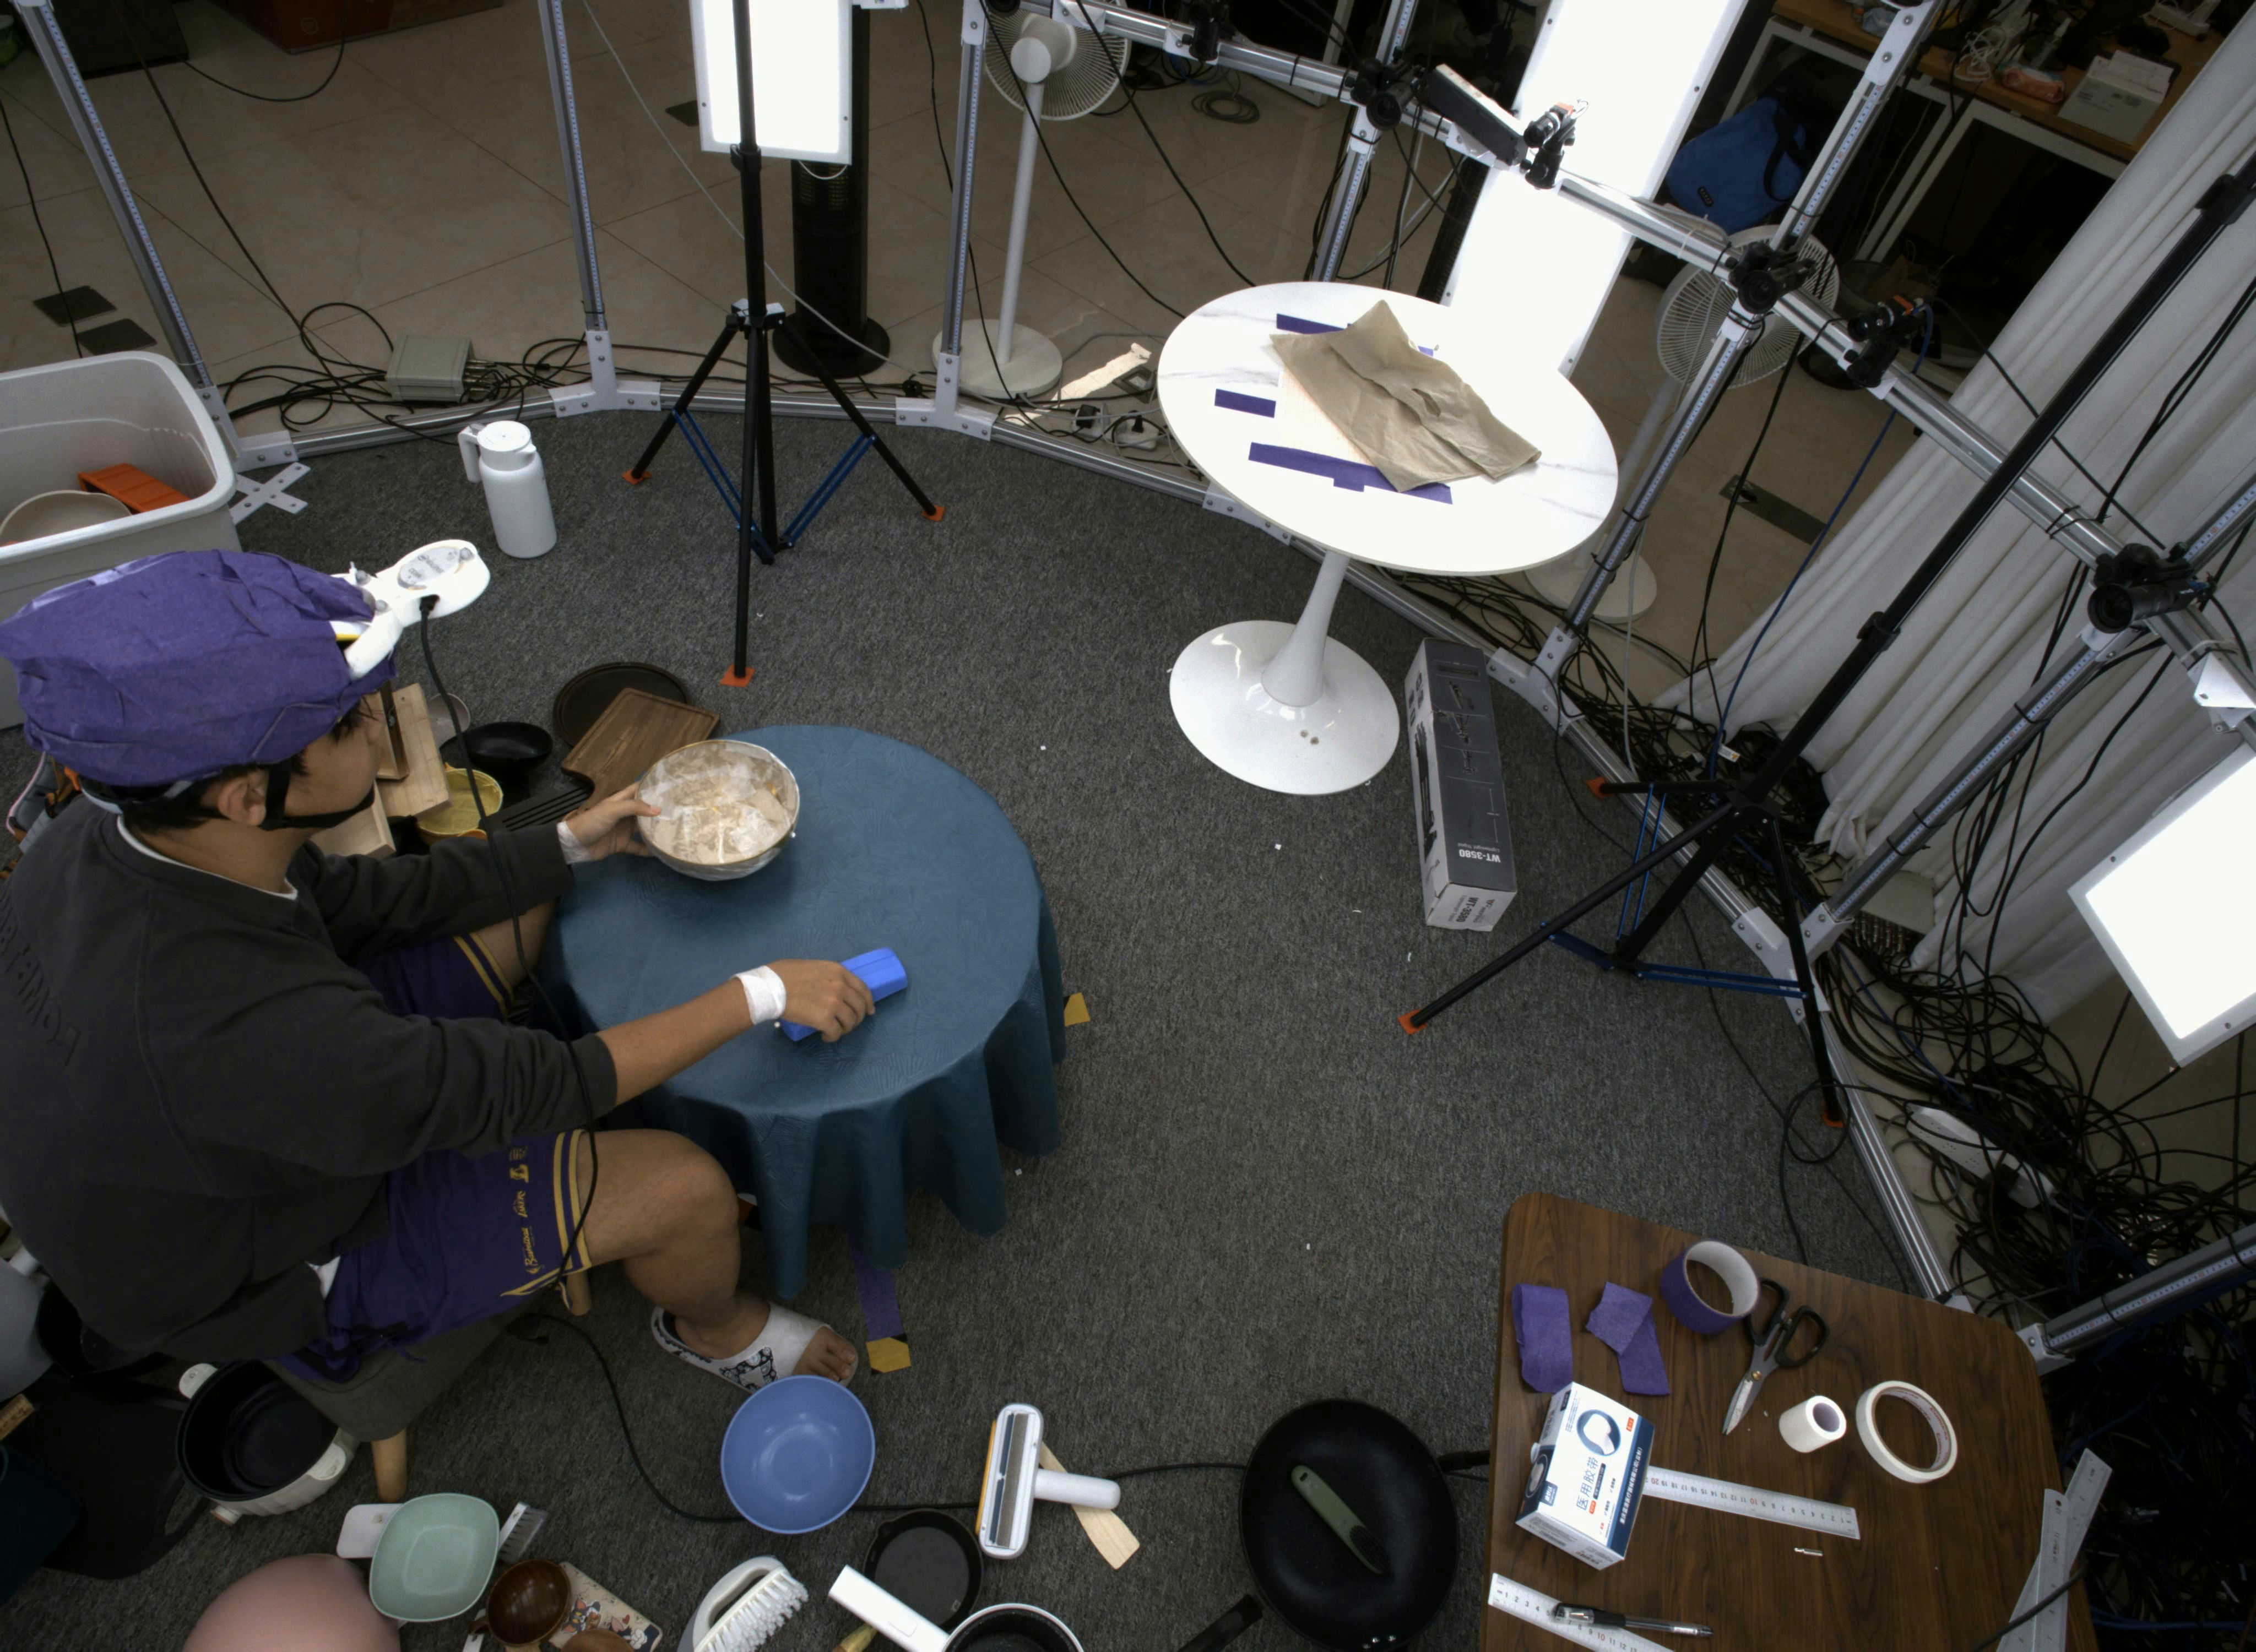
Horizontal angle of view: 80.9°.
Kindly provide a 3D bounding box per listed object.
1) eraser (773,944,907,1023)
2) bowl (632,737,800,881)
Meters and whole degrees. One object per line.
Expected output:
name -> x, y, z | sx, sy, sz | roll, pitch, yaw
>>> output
eraser -> -0.349, 0.185, 1.577 | 0.163, 0.048, 0.053 | -15, 63, -25
bowl -> -0.525, -0.008, 1.647 | 0.214, 0.096, 0.211 | 9, 53, -10
